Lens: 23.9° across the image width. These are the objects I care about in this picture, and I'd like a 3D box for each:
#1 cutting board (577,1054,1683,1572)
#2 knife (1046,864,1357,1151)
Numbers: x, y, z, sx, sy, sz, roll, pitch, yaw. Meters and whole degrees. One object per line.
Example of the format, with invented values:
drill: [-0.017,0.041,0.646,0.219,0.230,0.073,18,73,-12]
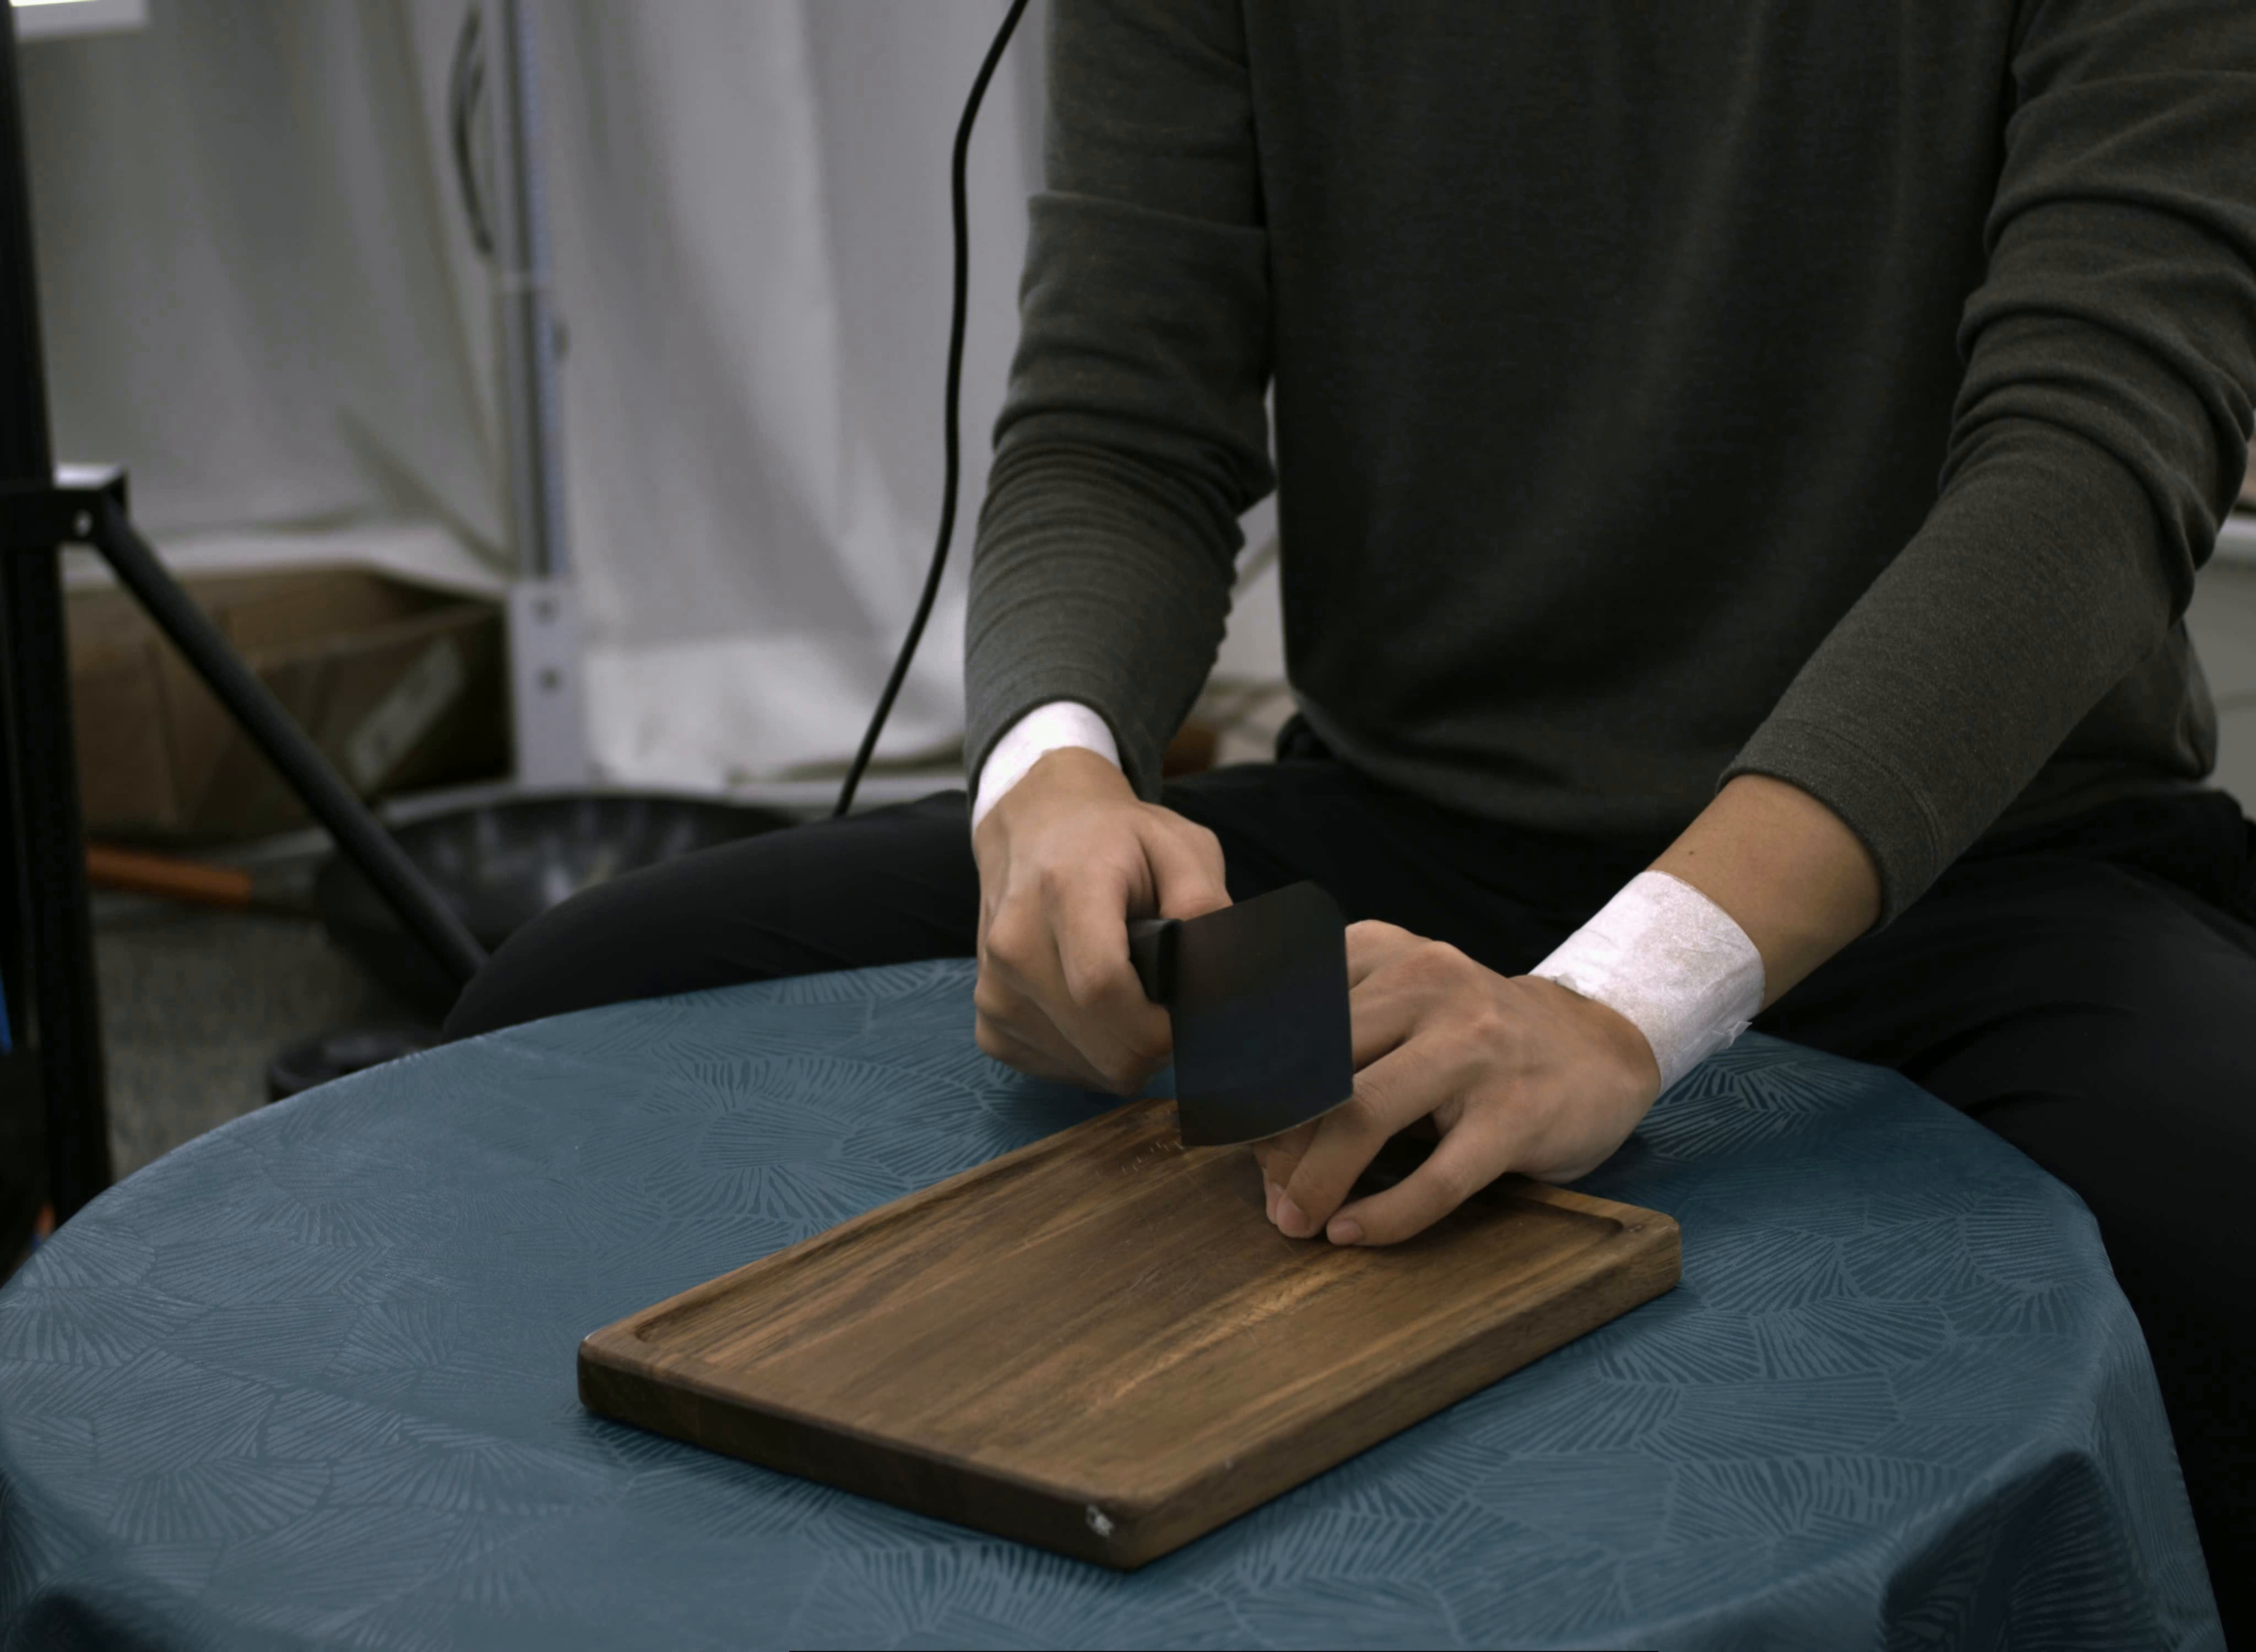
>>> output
cutting board: [0.035,0.120,1.475,0.205,0.023,0.344,11,21,38]
knife: [0.021,0.054,1.524,0.020,0.081,0.305,-1,-1,-15]
